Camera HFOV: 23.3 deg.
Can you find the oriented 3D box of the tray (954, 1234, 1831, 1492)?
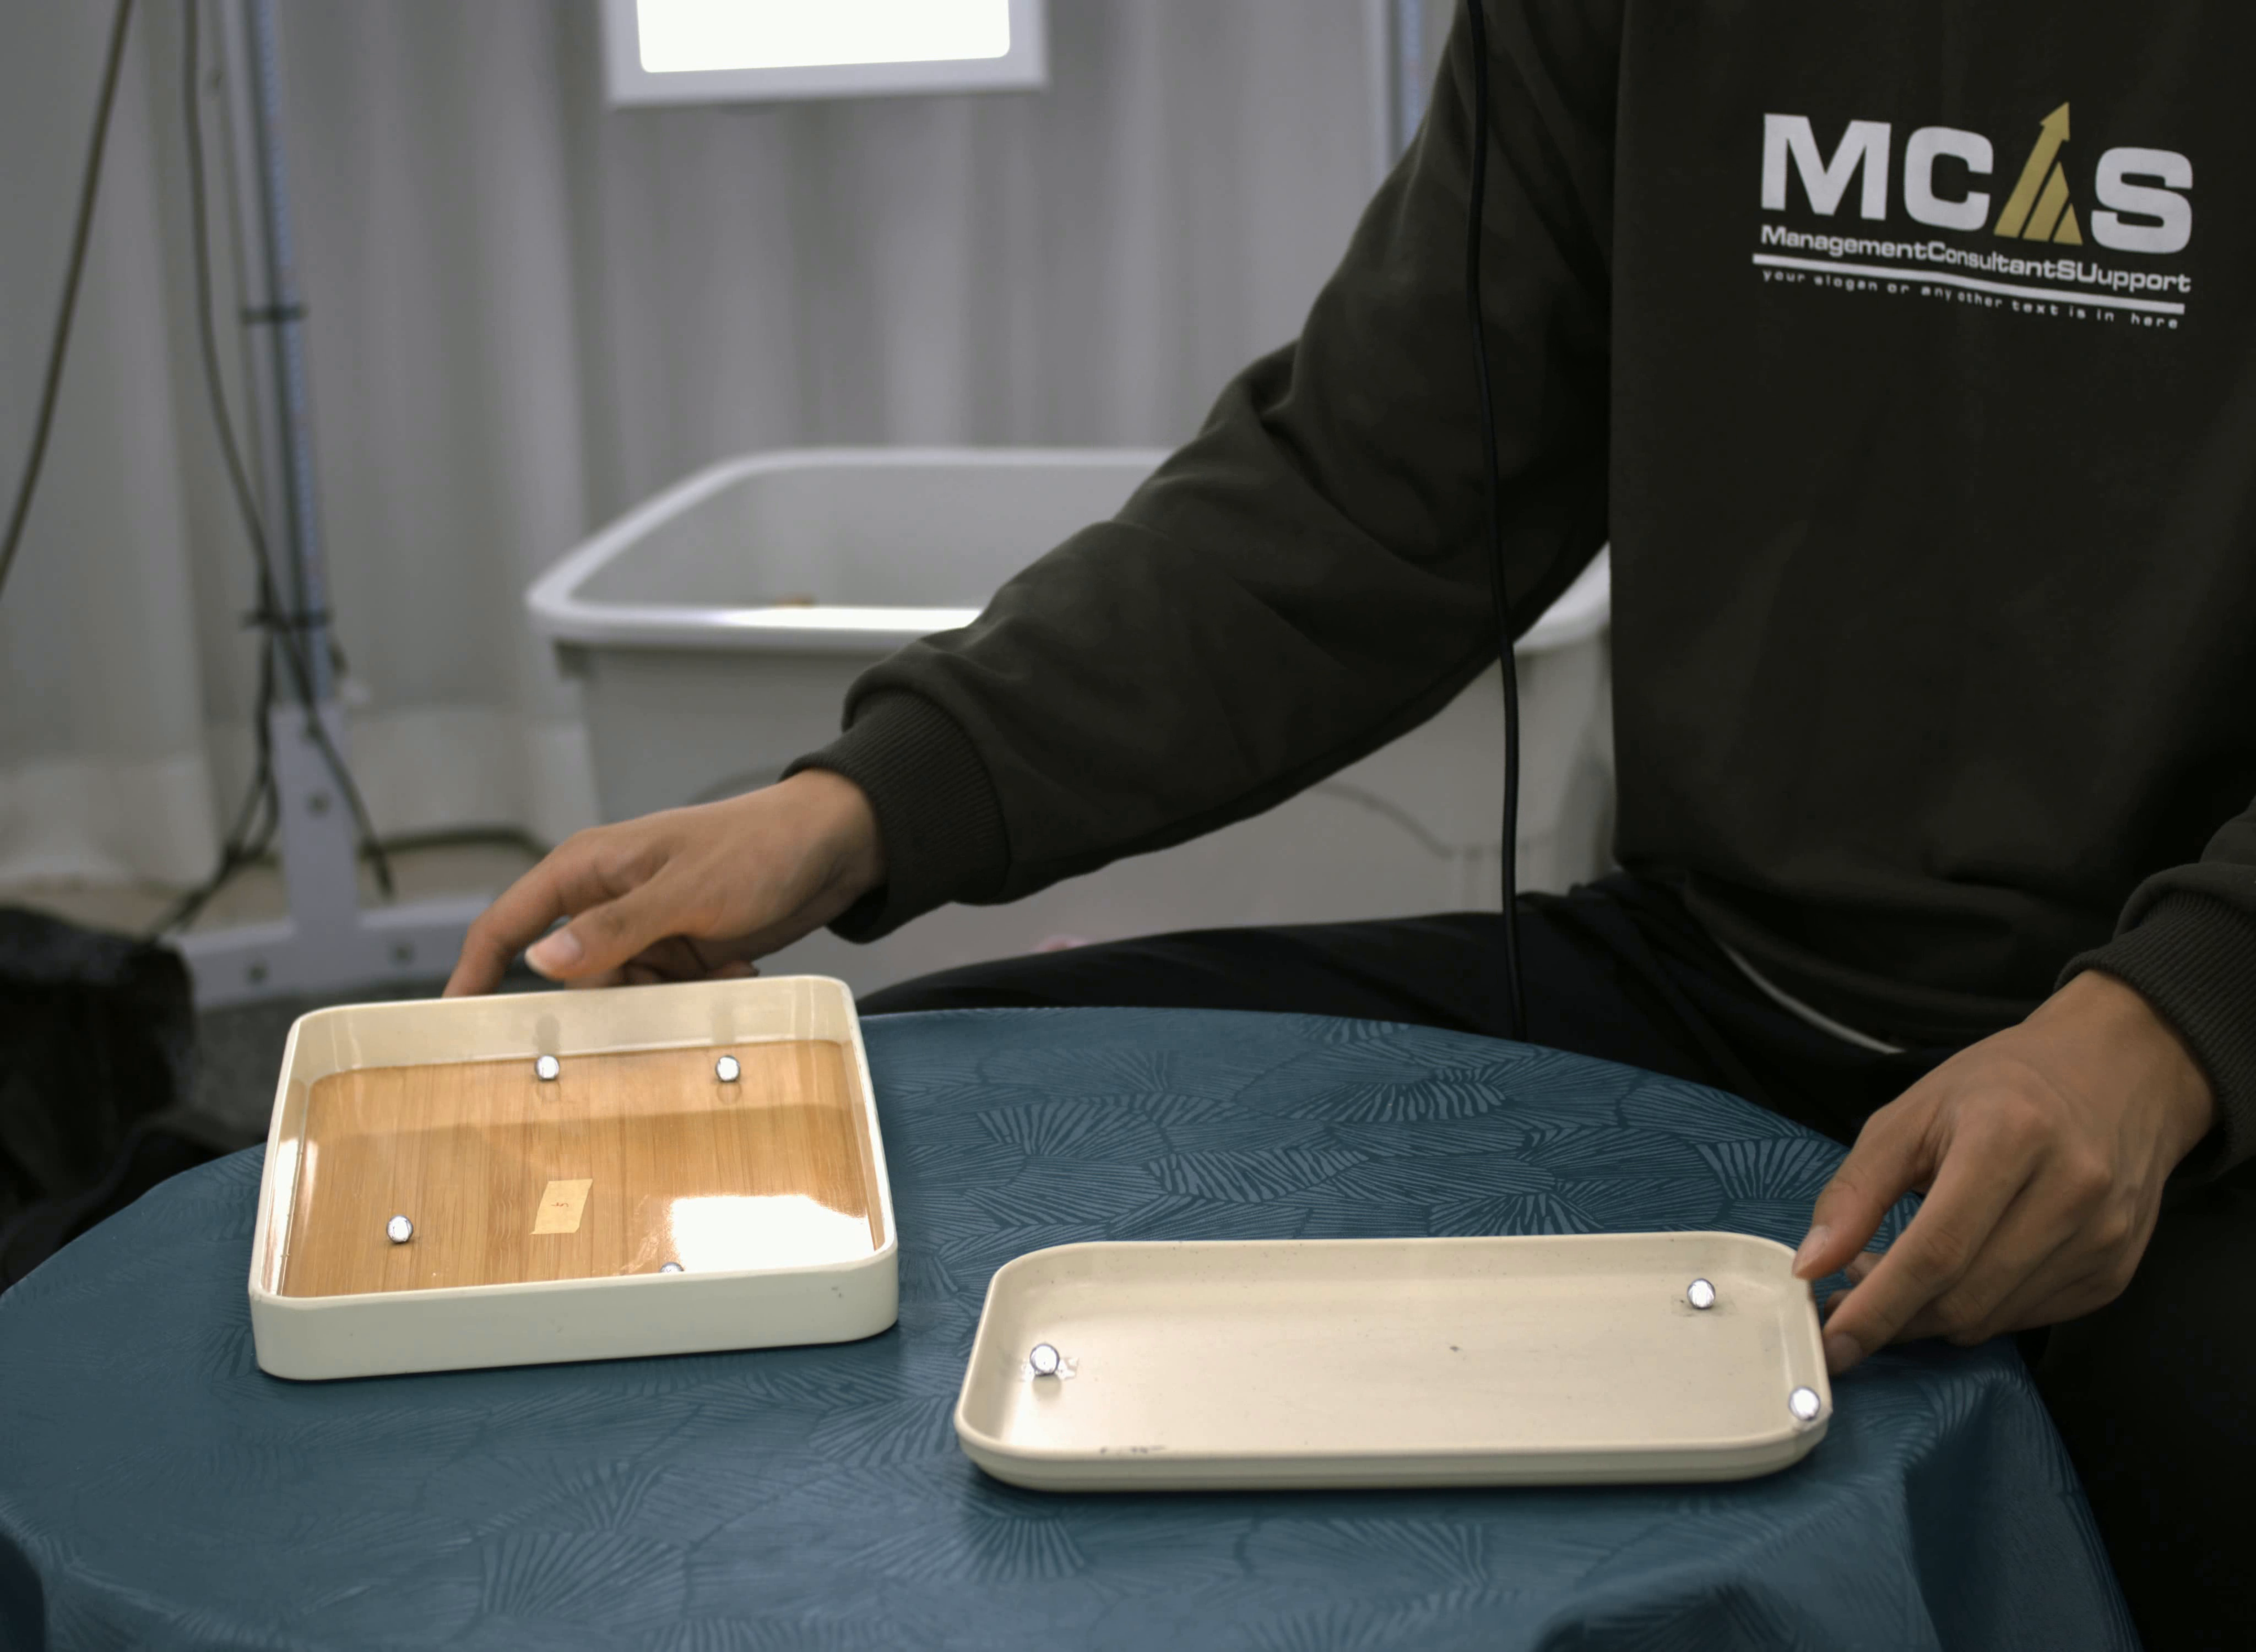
[{"bbox_3d":[0.074,0.151,1.535,0.239,0.017,0.172,-1,14,4],"label":"tray"}]

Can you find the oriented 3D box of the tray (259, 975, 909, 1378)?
[{"bbox_3d":[-0.172,0.106,1.726,0.191,0.027,0.302,-4,15,-5],"label":"tray"}]
